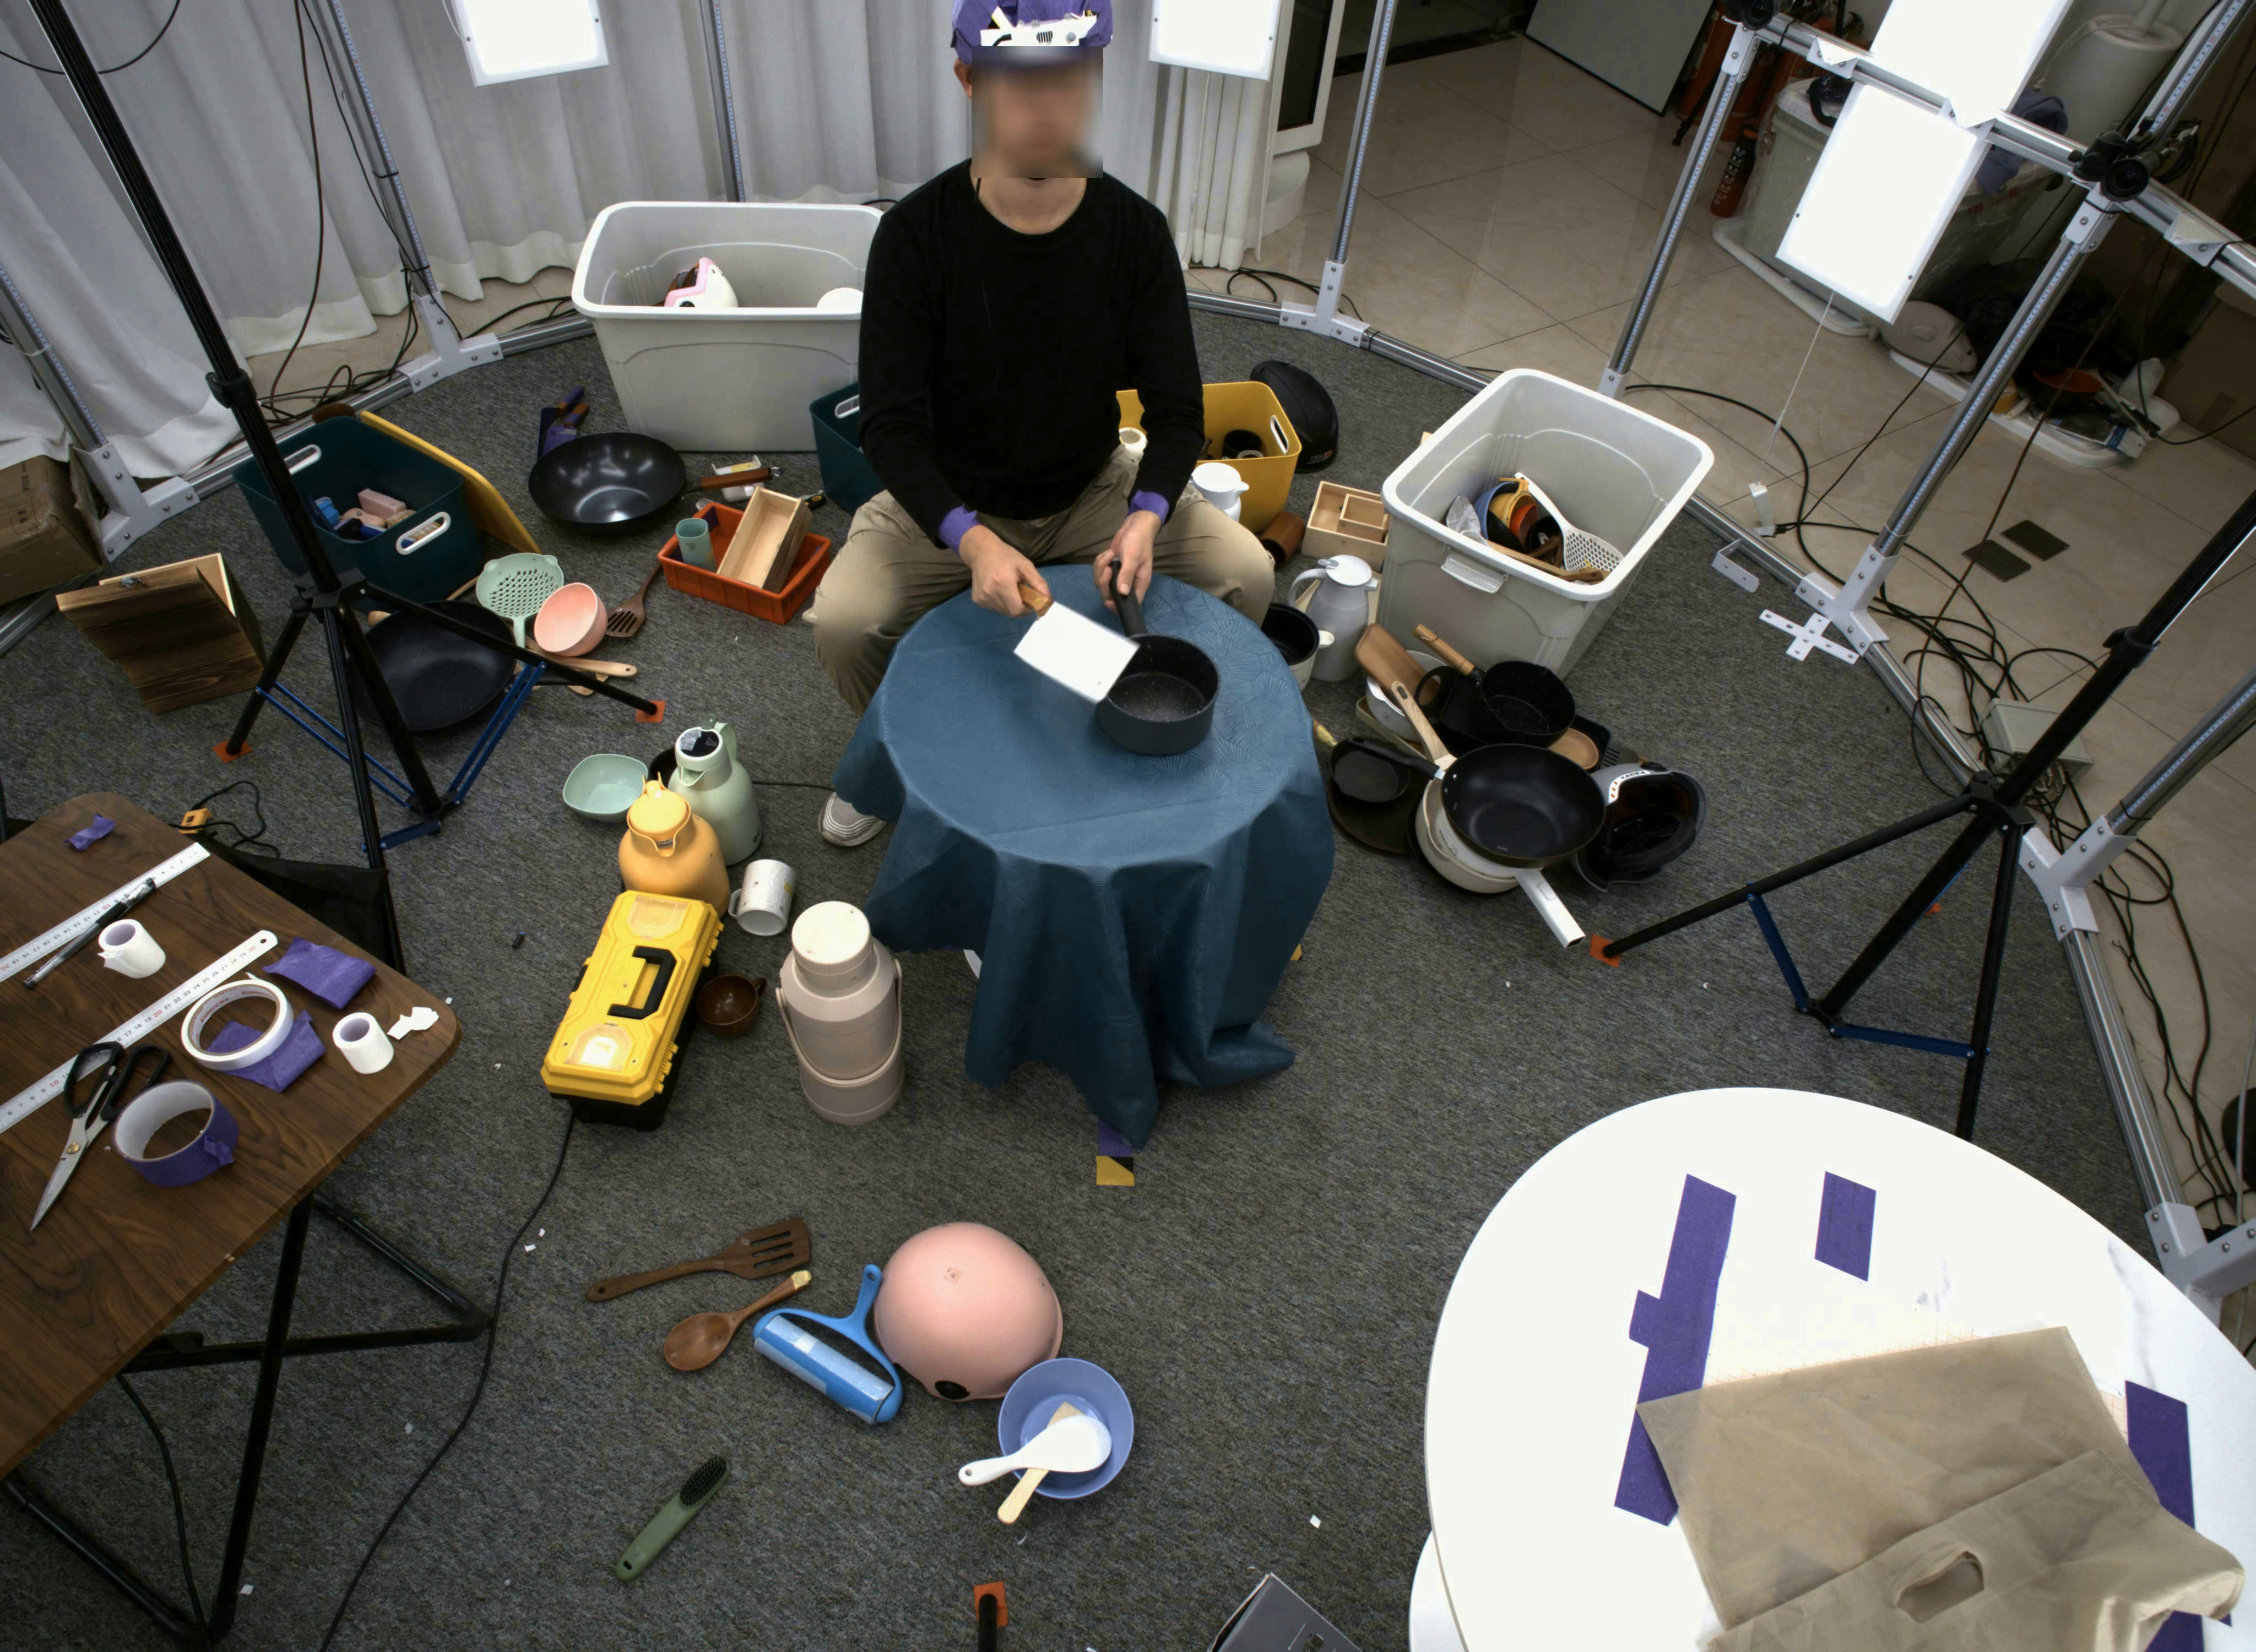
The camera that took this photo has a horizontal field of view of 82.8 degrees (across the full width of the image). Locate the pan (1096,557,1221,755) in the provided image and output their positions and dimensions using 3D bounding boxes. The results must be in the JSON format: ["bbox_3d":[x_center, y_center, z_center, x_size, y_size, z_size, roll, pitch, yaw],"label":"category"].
[{"bbox_3d":[0.022,-0.244,1.827,0.172,0.084,0.337,-7,52,-10],"label":"pan"}]

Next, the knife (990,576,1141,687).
[{"bbox_3d":[-0.103,-0.265,1.757,0.311,0.020,0.093,32,87,40],"label":"knife"}]
